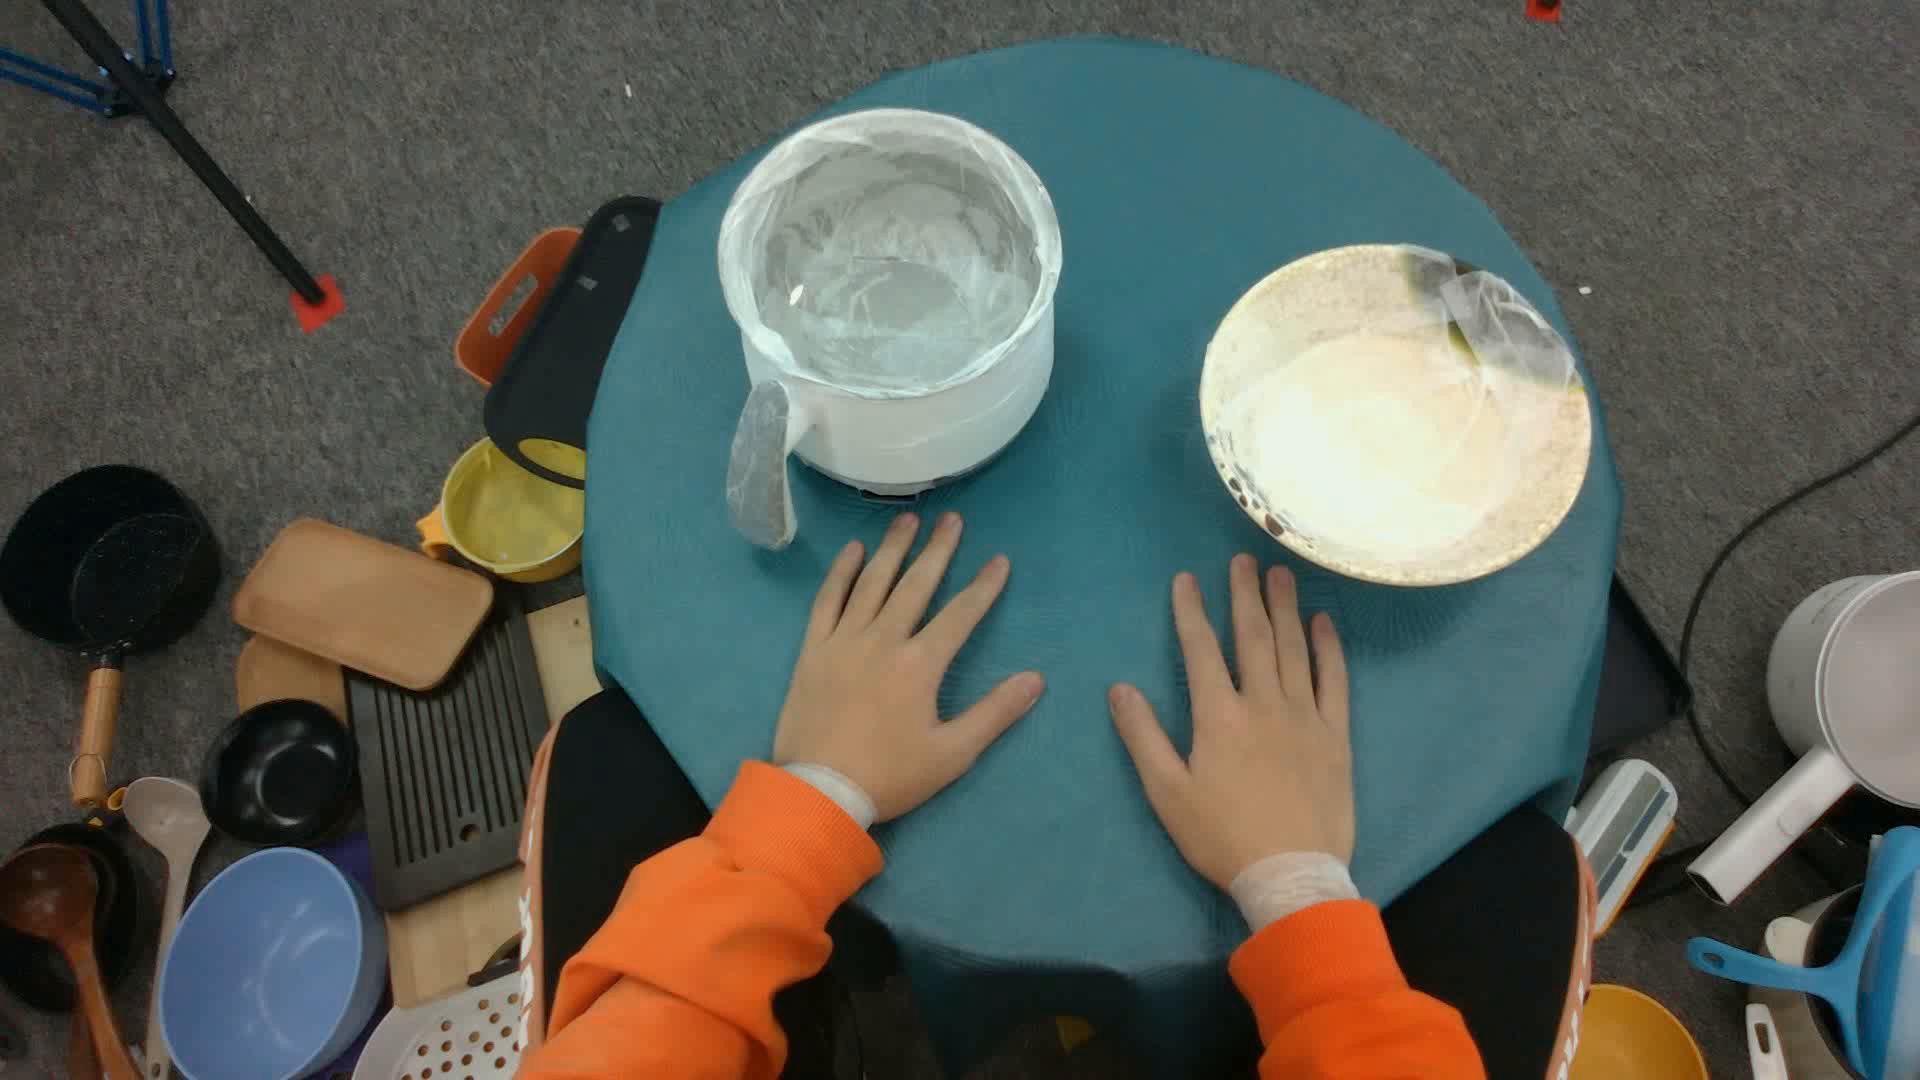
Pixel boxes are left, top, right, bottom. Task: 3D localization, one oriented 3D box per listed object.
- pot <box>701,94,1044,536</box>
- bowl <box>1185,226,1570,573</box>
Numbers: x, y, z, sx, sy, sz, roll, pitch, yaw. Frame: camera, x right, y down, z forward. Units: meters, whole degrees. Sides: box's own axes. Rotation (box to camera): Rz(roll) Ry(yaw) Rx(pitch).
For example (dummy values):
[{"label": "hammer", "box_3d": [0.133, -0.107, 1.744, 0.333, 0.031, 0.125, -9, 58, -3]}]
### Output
[{"label": "pot", "box_3d": [-0.059, -0.112, 0.756, 0.179, 0.136, 0.234, 30, 70, 12]}, {"label": "bowl", "box_3d": [0.224, -0.068, 0.771, 0.204, 0.078, 0.204, 0, 71, 1]}]
